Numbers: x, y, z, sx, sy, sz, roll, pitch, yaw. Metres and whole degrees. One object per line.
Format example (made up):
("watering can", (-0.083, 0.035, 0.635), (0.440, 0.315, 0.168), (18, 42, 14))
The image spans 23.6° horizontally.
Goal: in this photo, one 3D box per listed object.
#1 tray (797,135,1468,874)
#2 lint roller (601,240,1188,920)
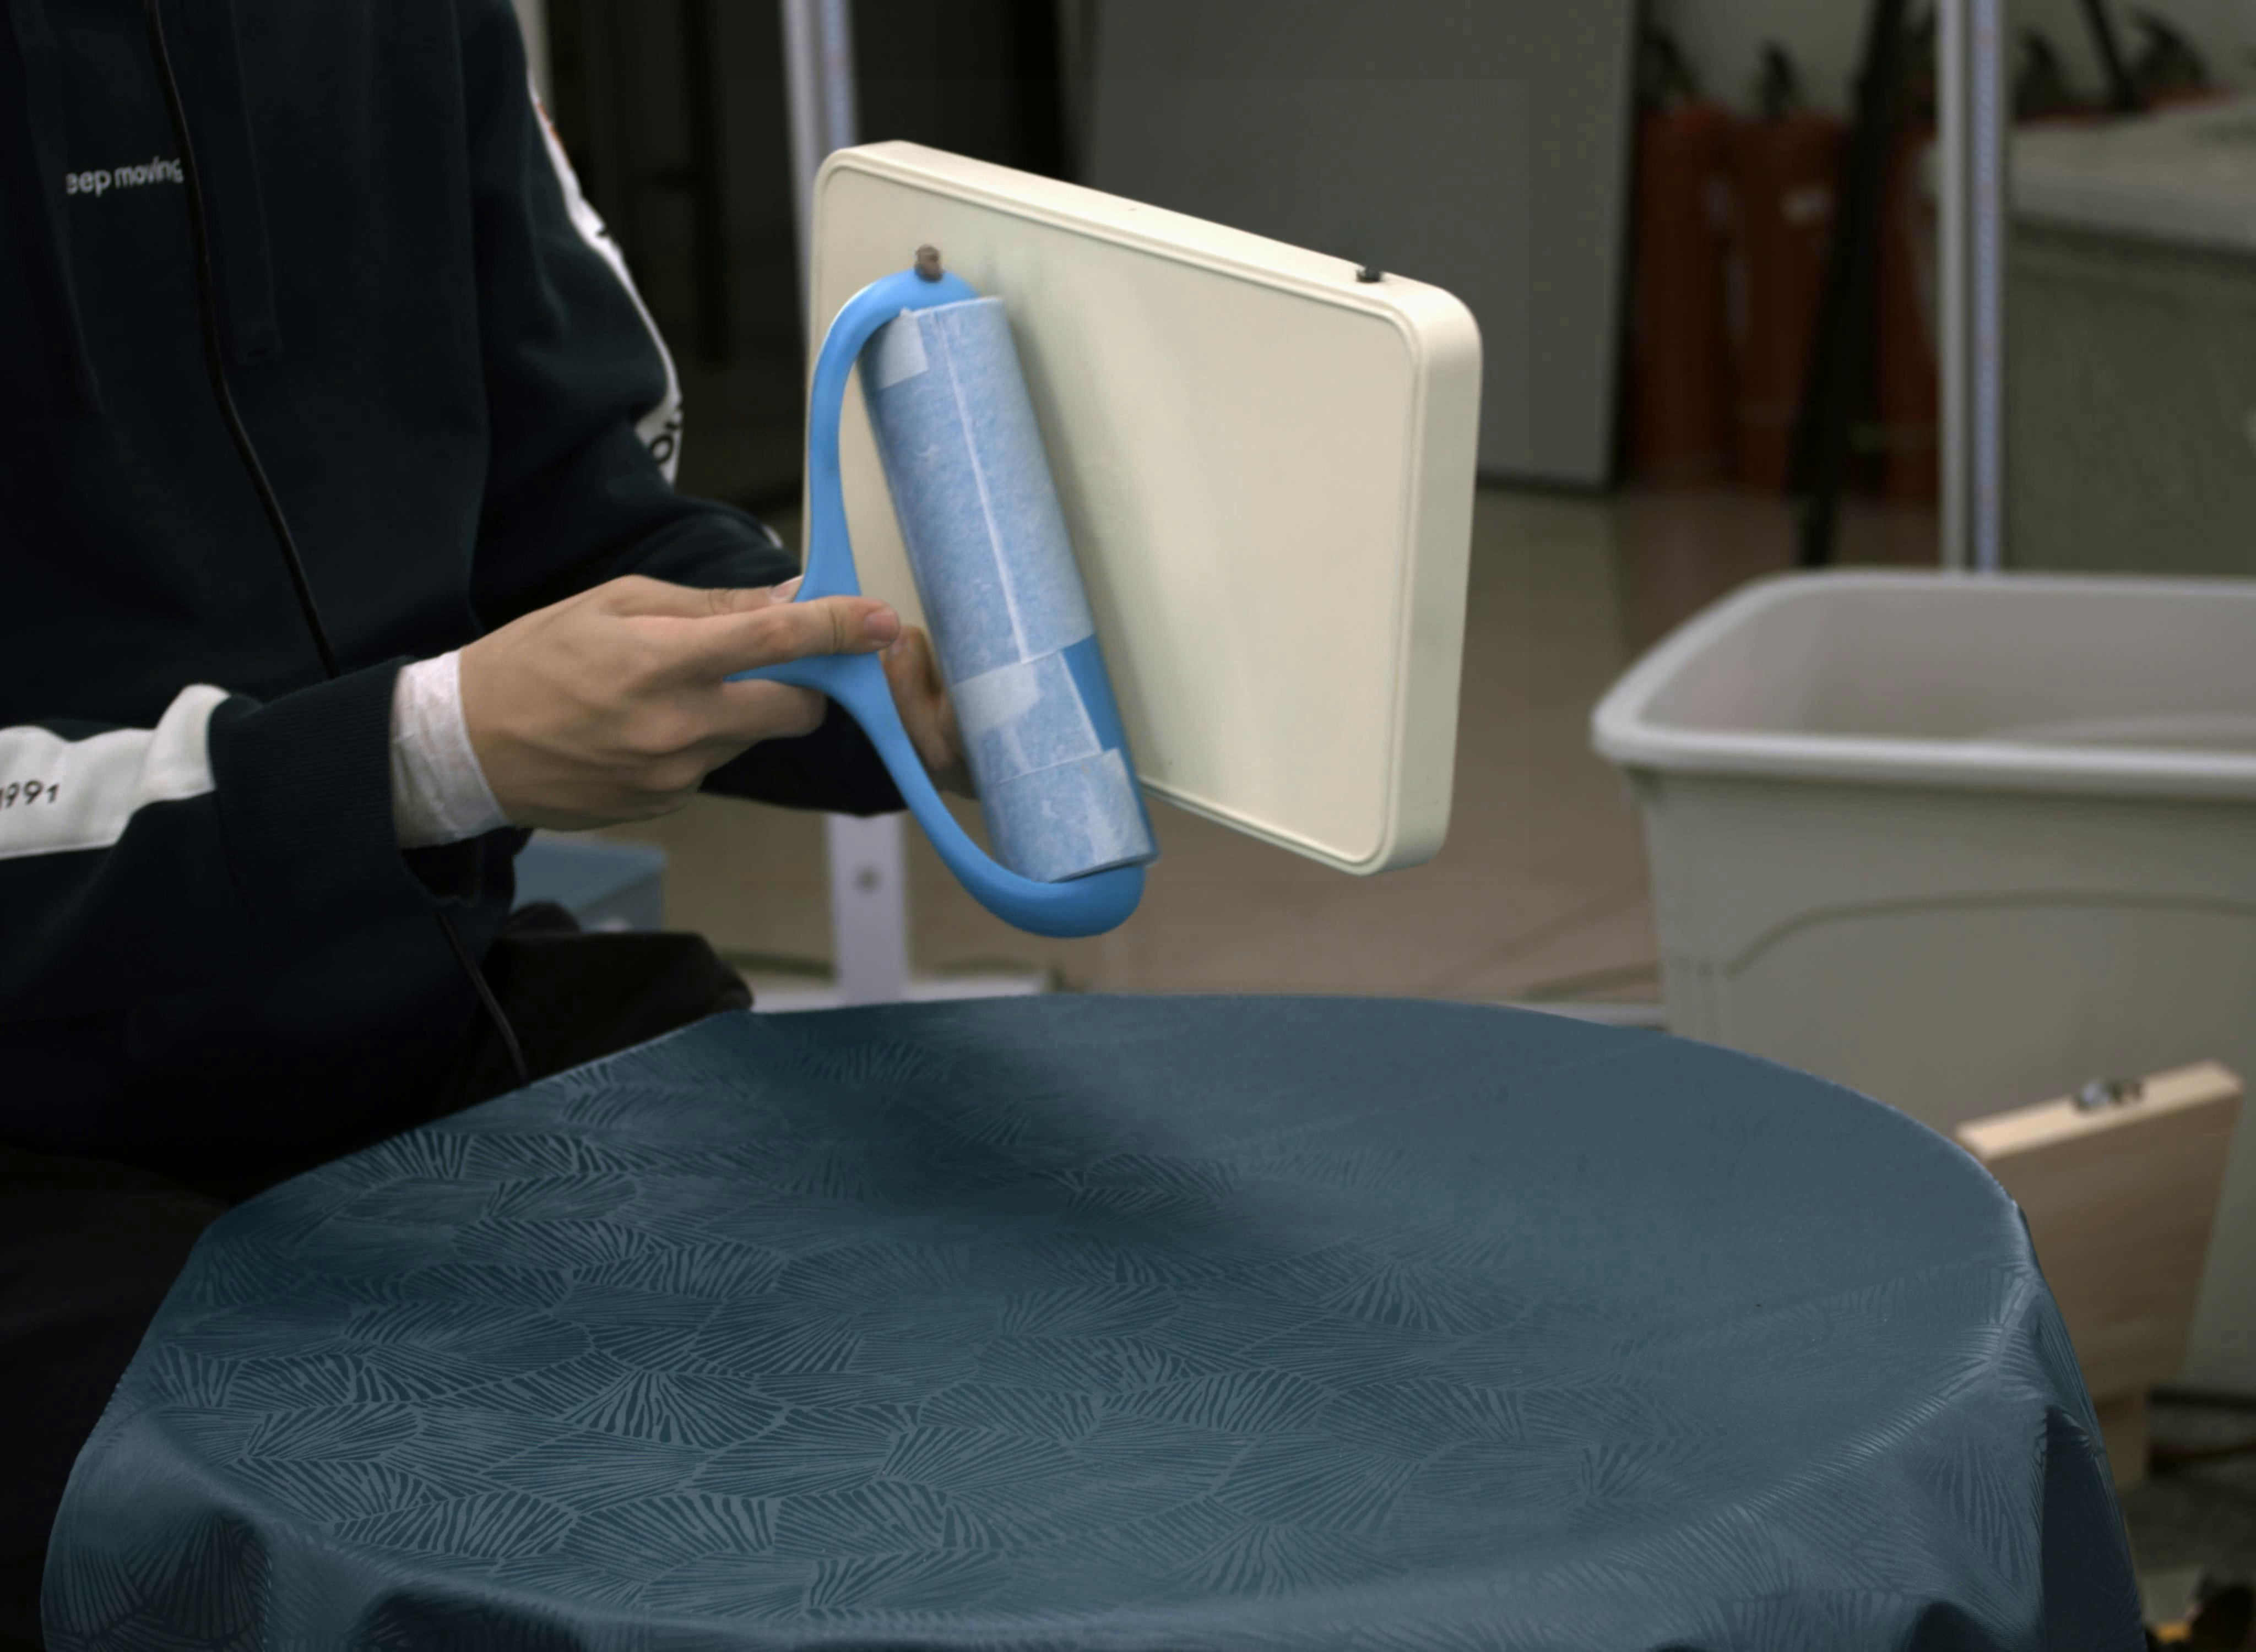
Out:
("tray", (-0.006, -0.110, 1.773), (0.027, 0.194, 0.303), (-12, 22, -39))
("lint roller", (-0.090, -0.059, 1.765), (0.179, 0.231, 0.068), (-21, -4, 3))
